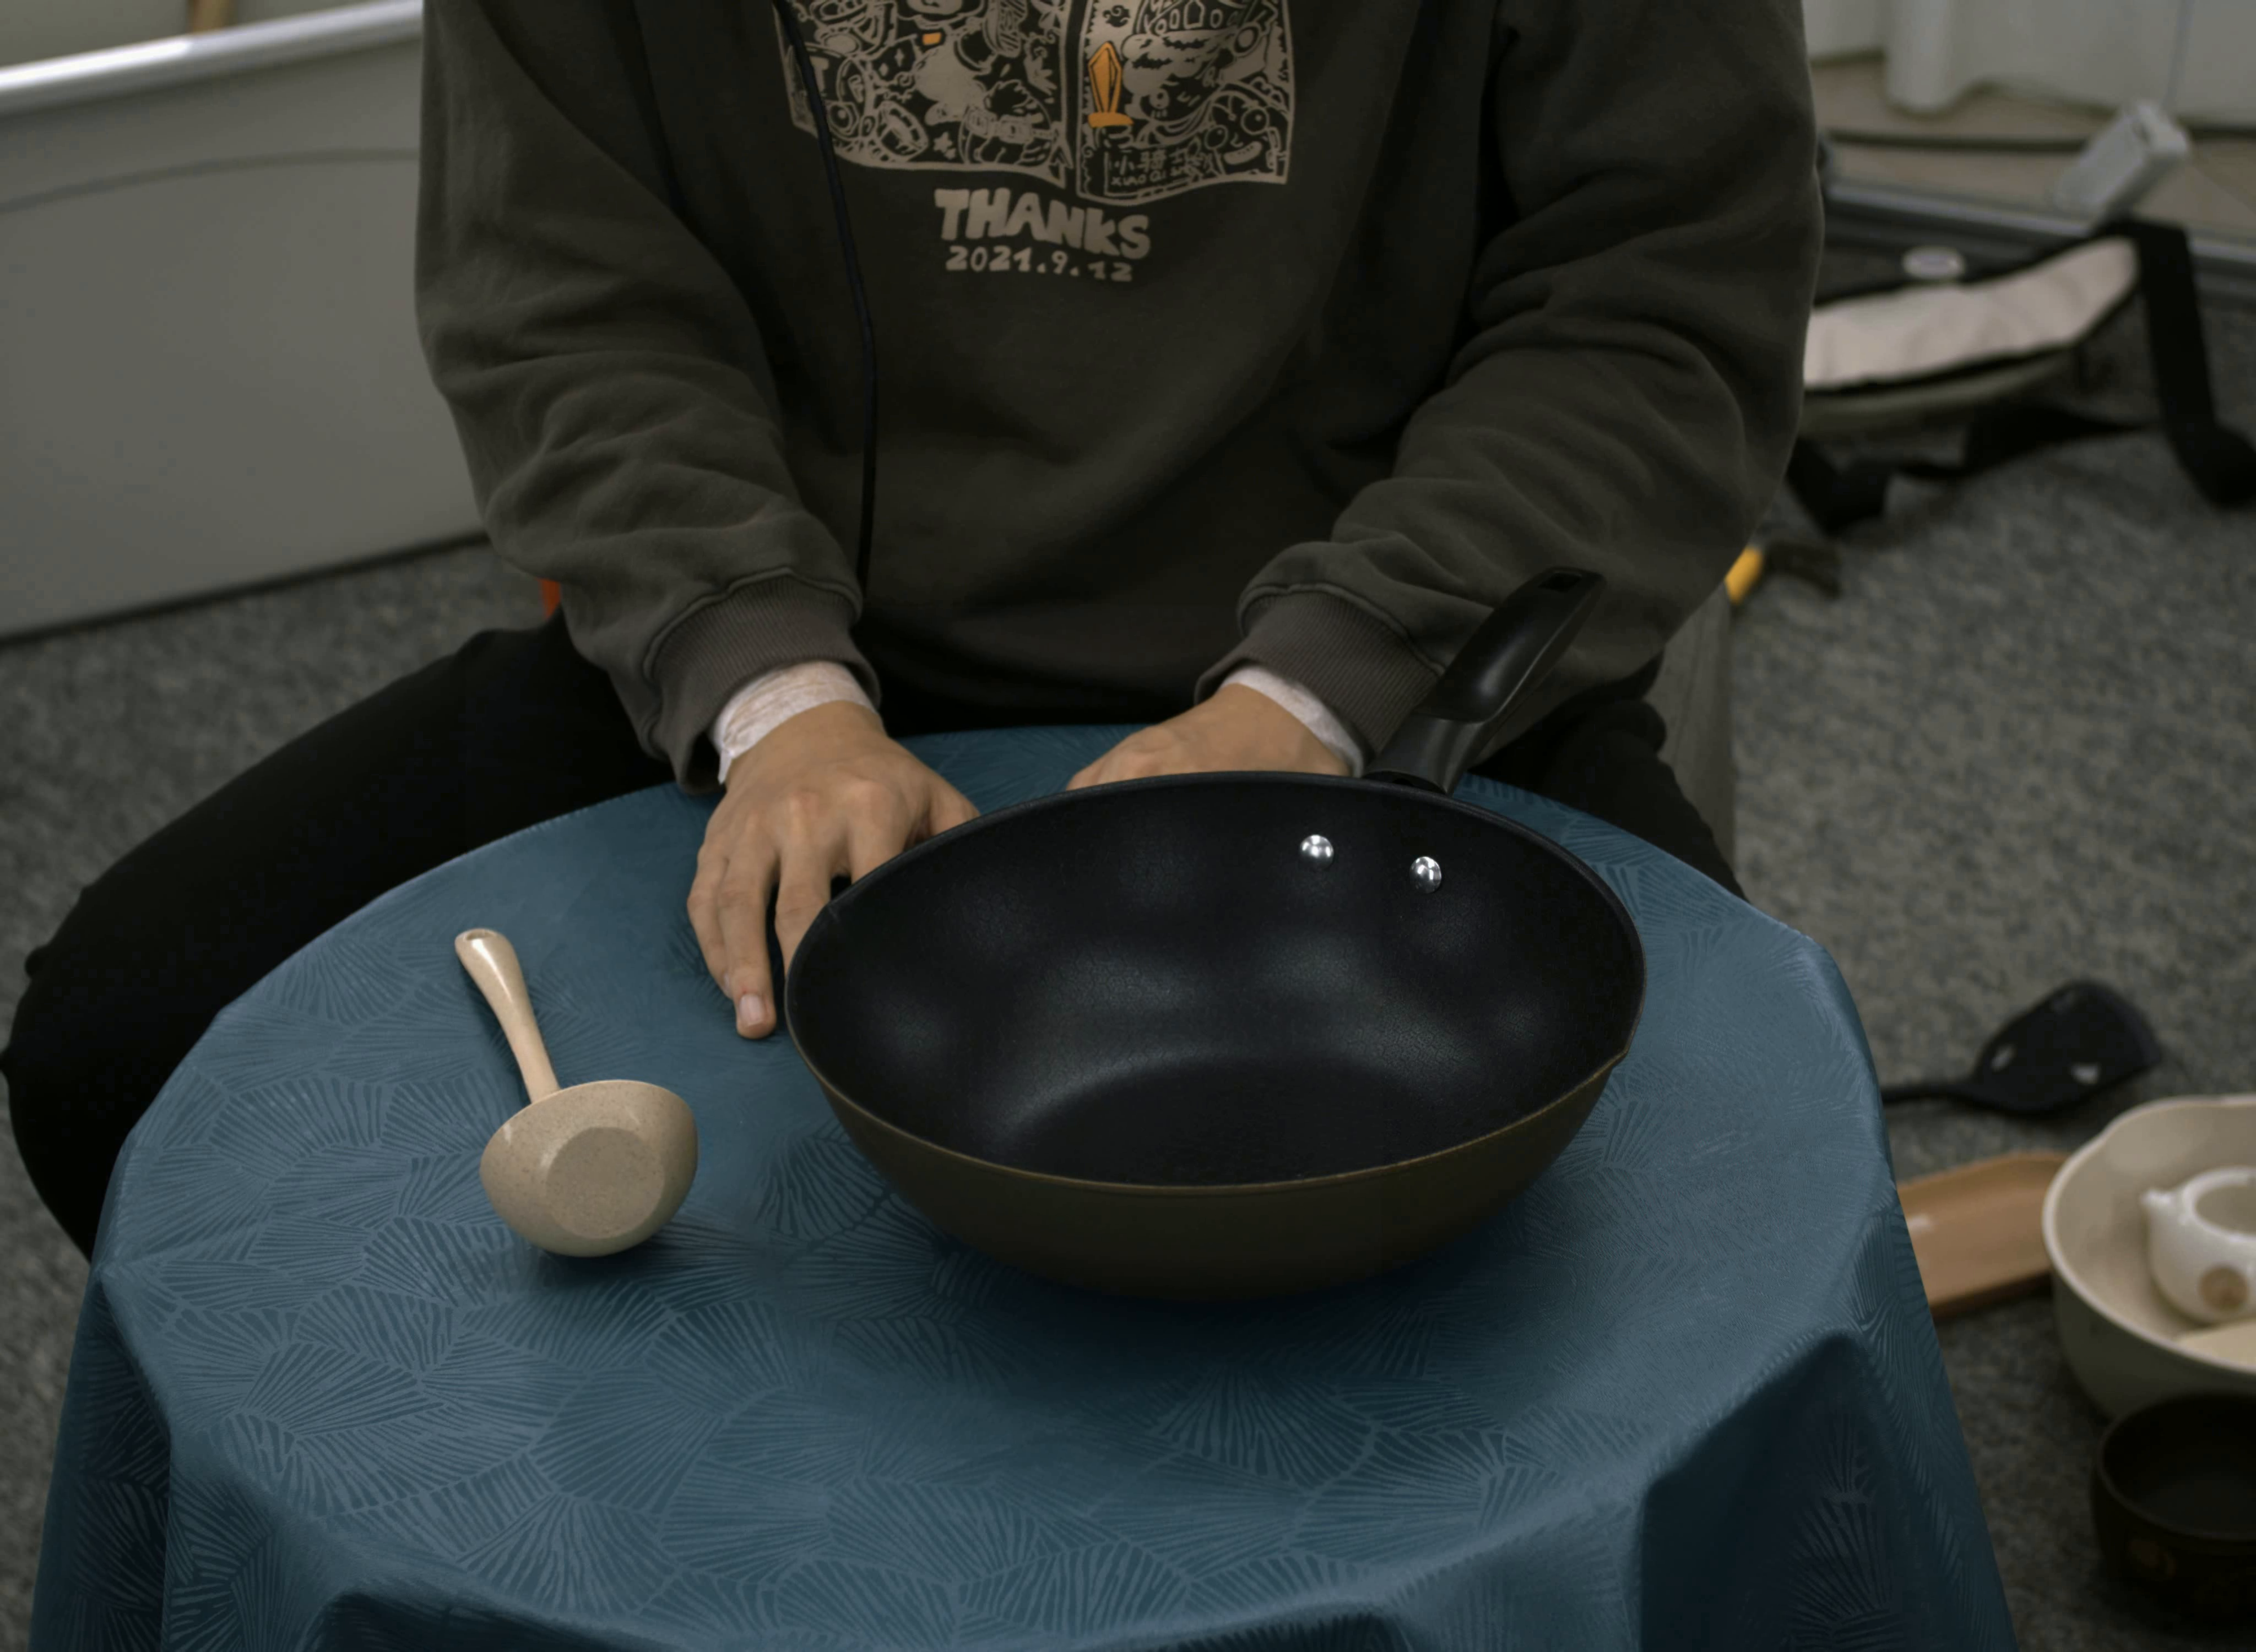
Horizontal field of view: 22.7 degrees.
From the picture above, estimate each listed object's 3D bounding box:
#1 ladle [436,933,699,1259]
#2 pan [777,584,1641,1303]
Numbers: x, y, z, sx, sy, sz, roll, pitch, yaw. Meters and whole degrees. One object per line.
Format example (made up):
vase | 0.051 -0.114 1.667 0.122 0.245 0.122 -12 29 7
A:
ladle | -0.207 0.065 1.913 0.072 0.072 0.256 -16 30 -13
pan | 0.068 0.040 1.921 0.286 0.086 0.471 10 29 24
